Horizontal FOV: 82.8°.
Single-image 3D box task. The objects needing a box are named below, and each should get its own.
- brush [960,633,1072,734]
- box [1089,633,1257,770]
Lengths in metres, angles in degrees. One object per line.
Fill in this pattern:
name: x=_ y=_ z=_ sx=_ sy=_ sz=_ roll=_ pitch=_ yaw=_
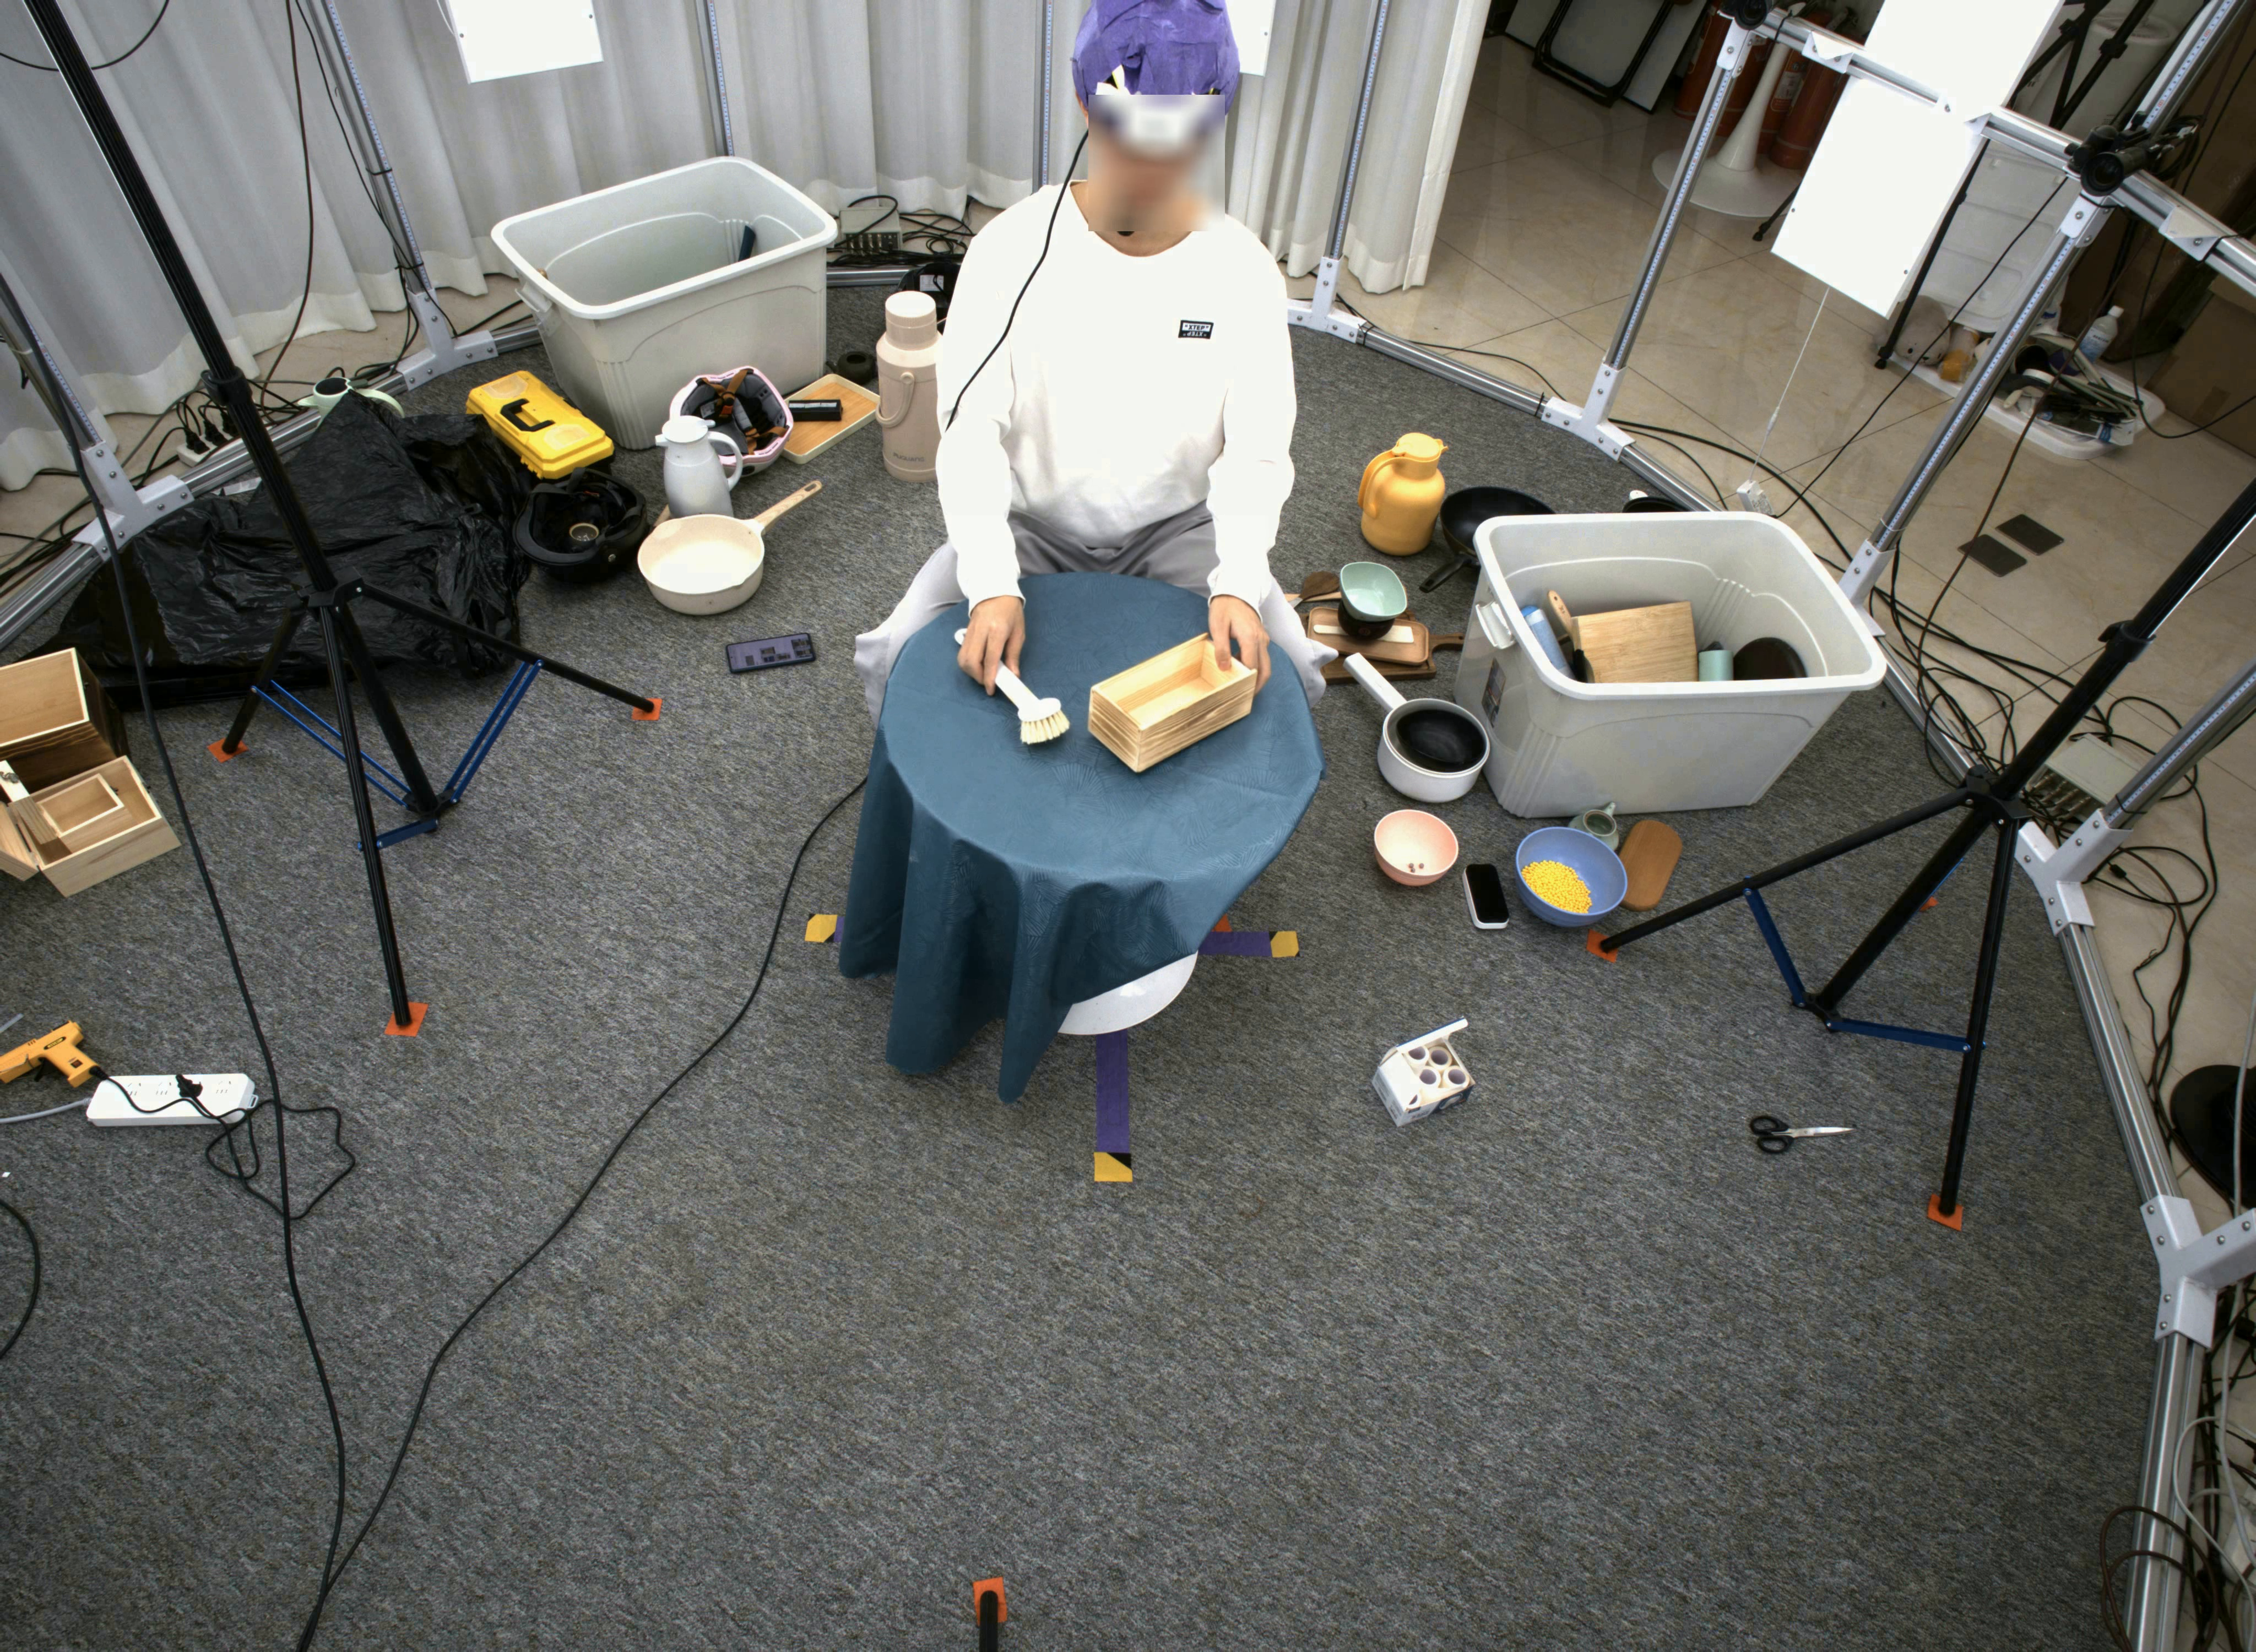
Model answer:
brush: x=-0.165 y=-0.200 z=1.812 sx=0.069 sy=0.055 sz=0.272 roll=-19 pitch=38 yaw=-27
box: x=0.062 y=-0.174 z=1.758 sx=0.213 sy=0.078 sz=0.109 roll=-29 pitch=54 yaw=-30
